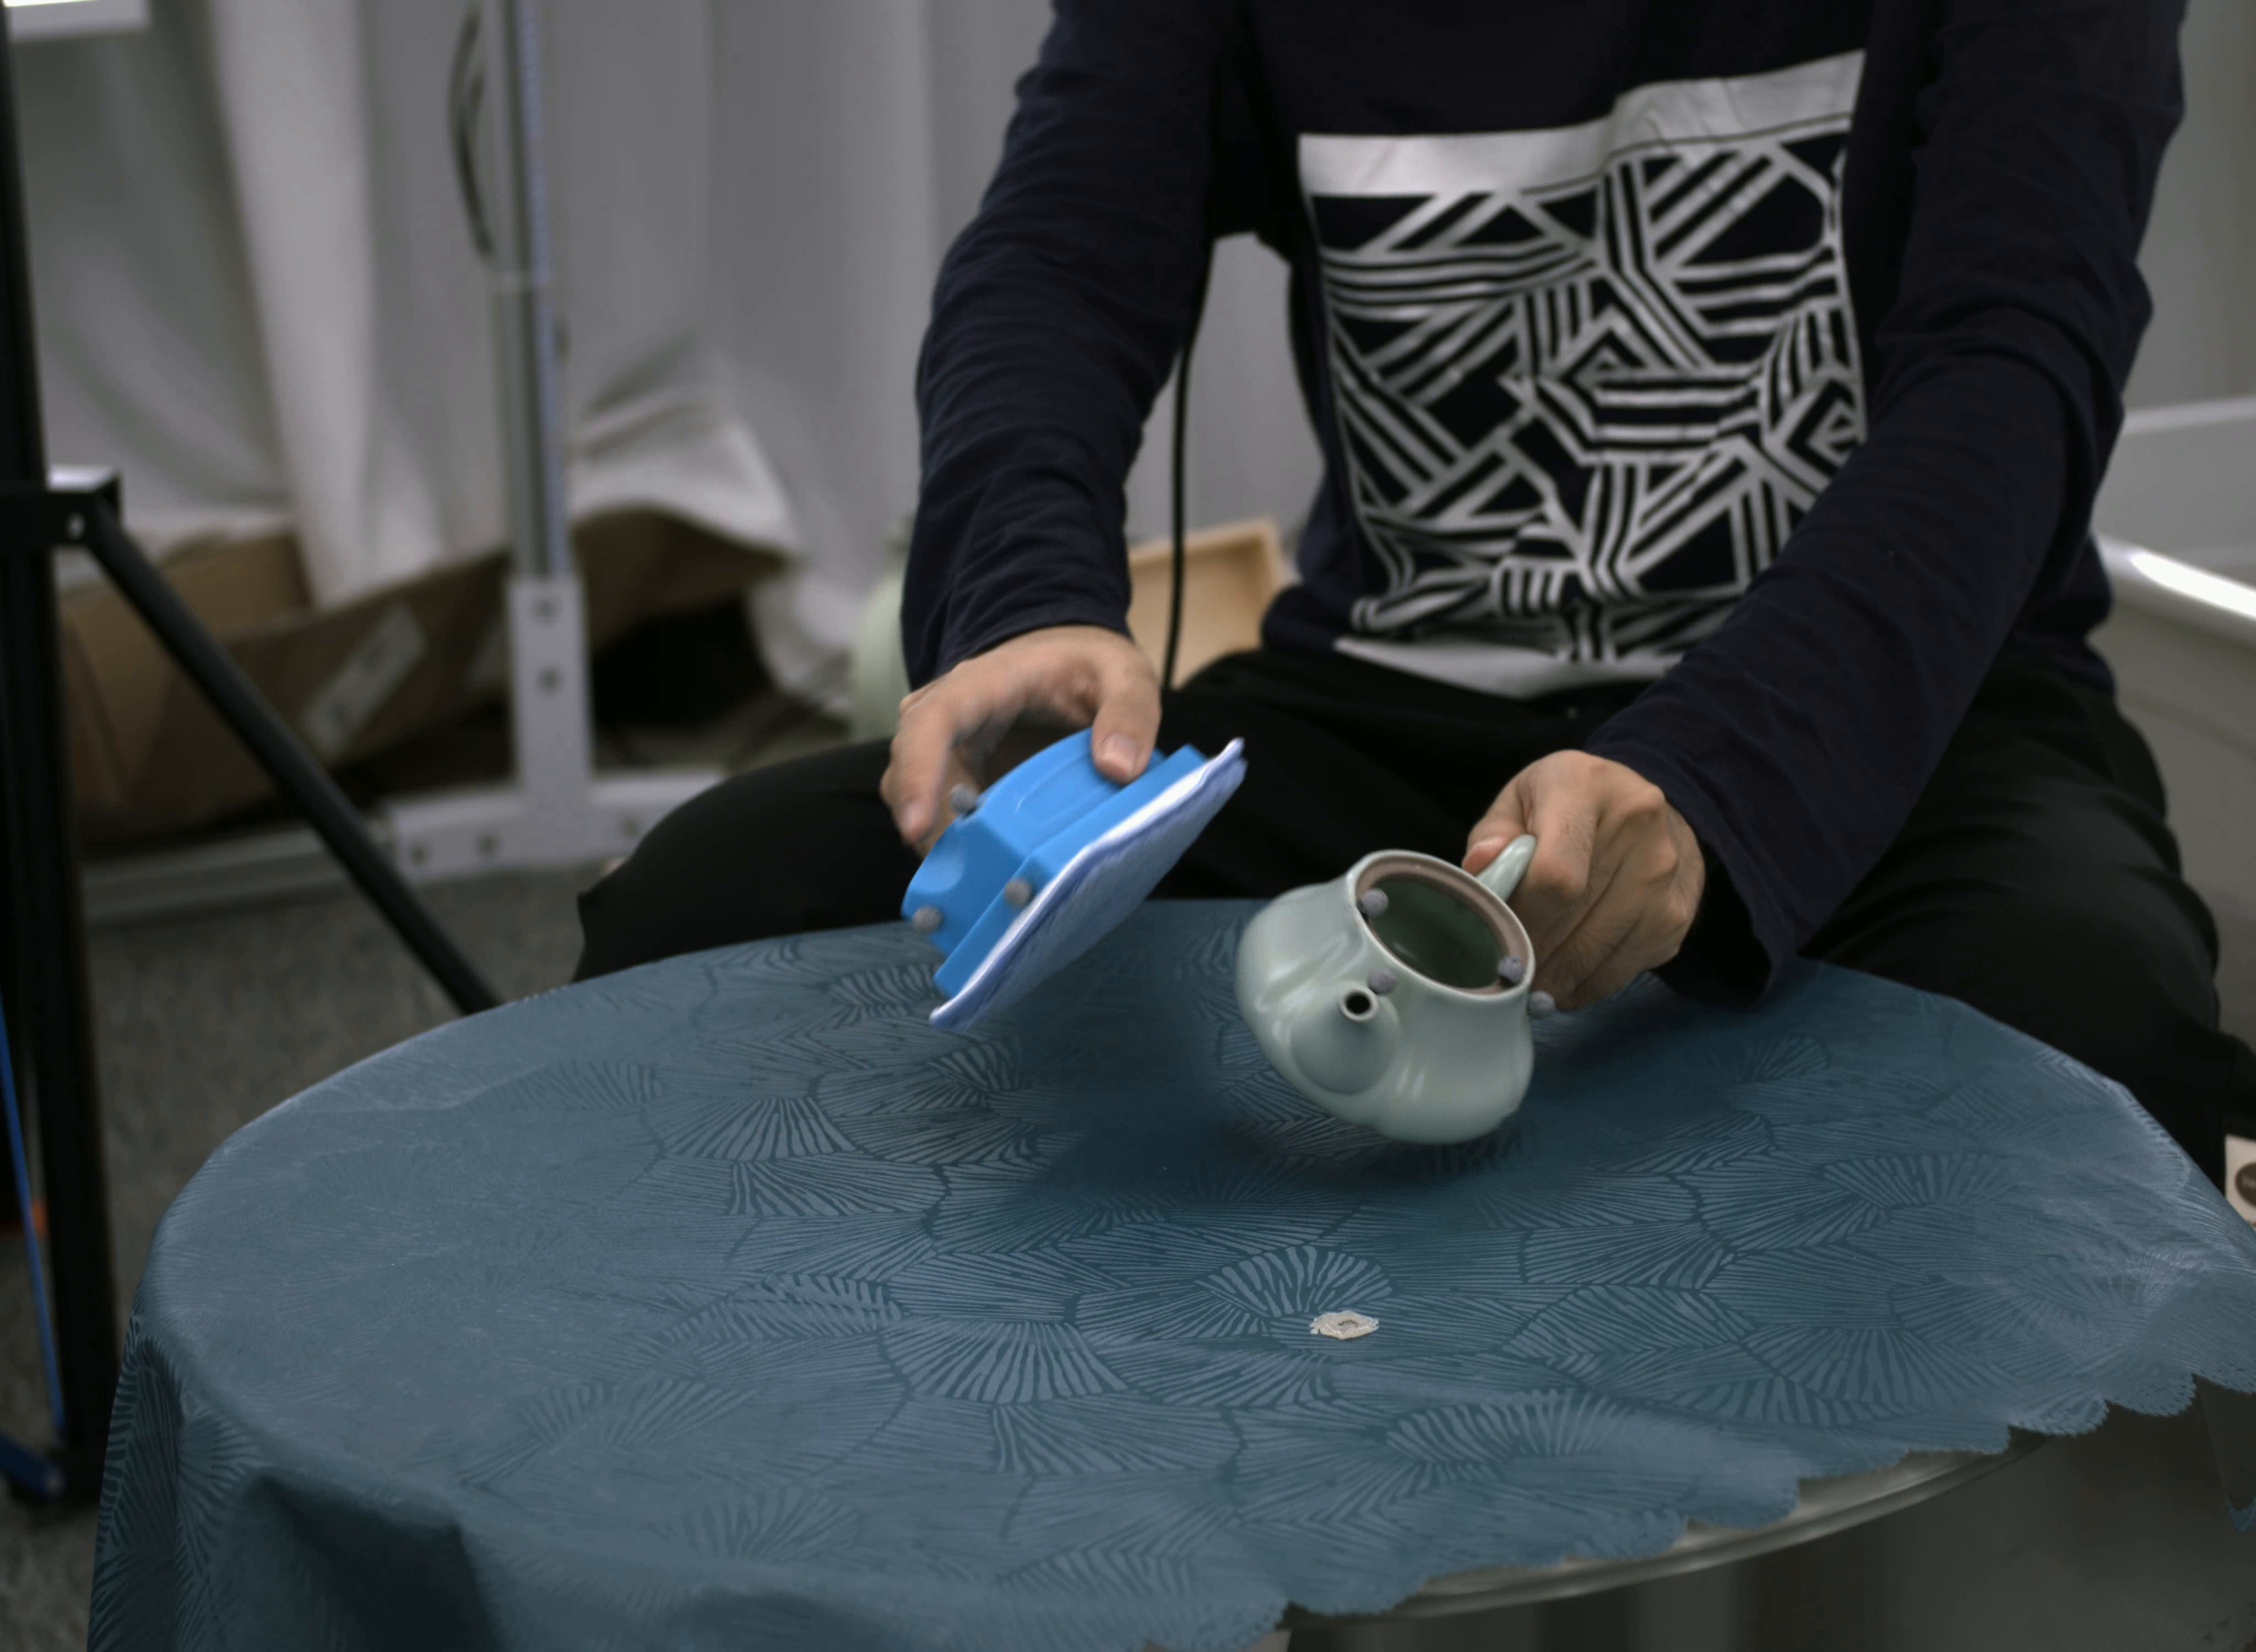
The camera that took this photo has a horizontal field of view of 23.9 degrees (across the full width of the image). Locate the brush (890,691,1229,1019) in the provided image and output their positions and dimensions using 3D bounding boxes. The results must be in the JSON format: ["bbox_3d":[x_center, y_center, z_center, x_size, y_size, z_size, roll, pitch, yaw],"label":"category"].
[{"bbox_3d":[-0.027,0.004,1.610,0.056,0.084,0.142,45,30,2],"label":"brush"}]

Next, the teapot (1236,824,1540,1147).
[{"bbox_3d":[0.085,0.046,1.576,0.097,0.061,0.135,35,38,11],"label":"teapot"}]
